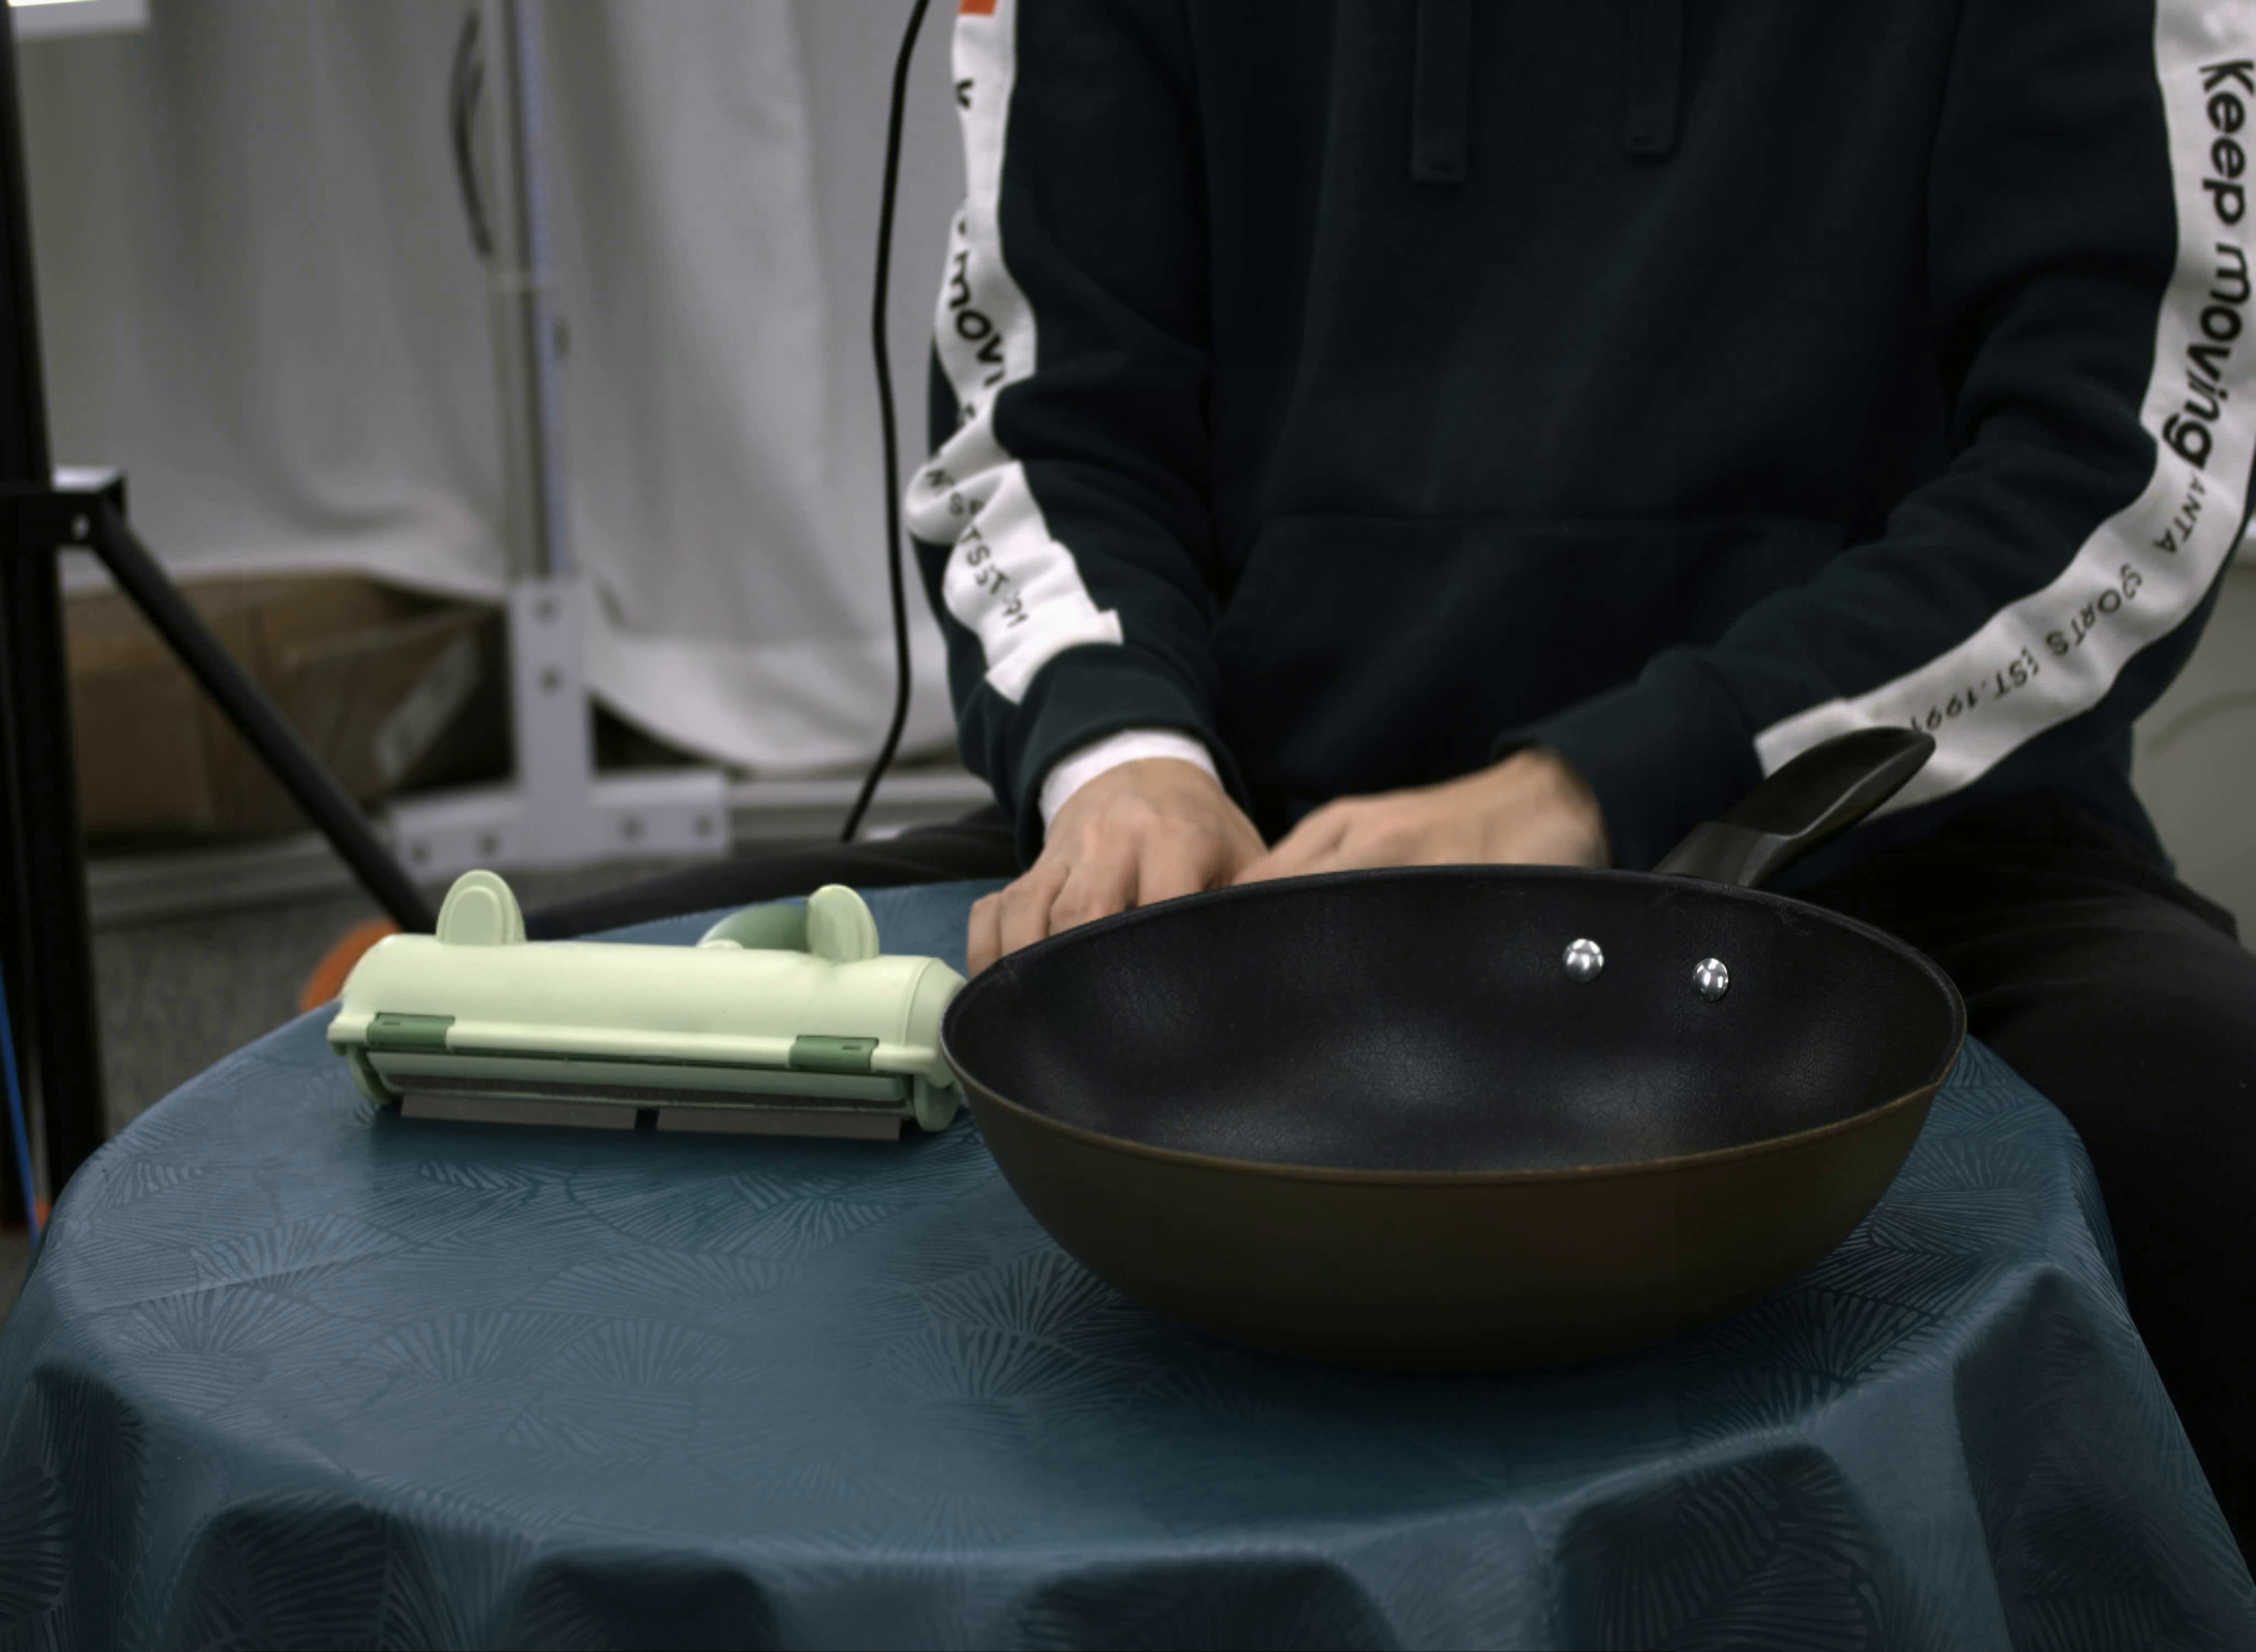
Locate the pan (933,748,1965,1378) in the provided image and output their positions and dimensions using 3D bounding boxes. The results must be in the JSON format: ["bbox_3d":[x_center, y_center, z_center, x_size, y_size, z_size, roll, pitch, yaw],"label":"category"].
[{"bbox_3d":[0.132,0.065,1.535,0.293,0.087,0.455,7,17,30],"label":"pan"}]

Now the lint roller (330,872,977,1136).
[{"bbox_3d":[-0.131,0.038,1.690,0.200,0.082,0.182,2,22,16],"label":"lint roller"}]
